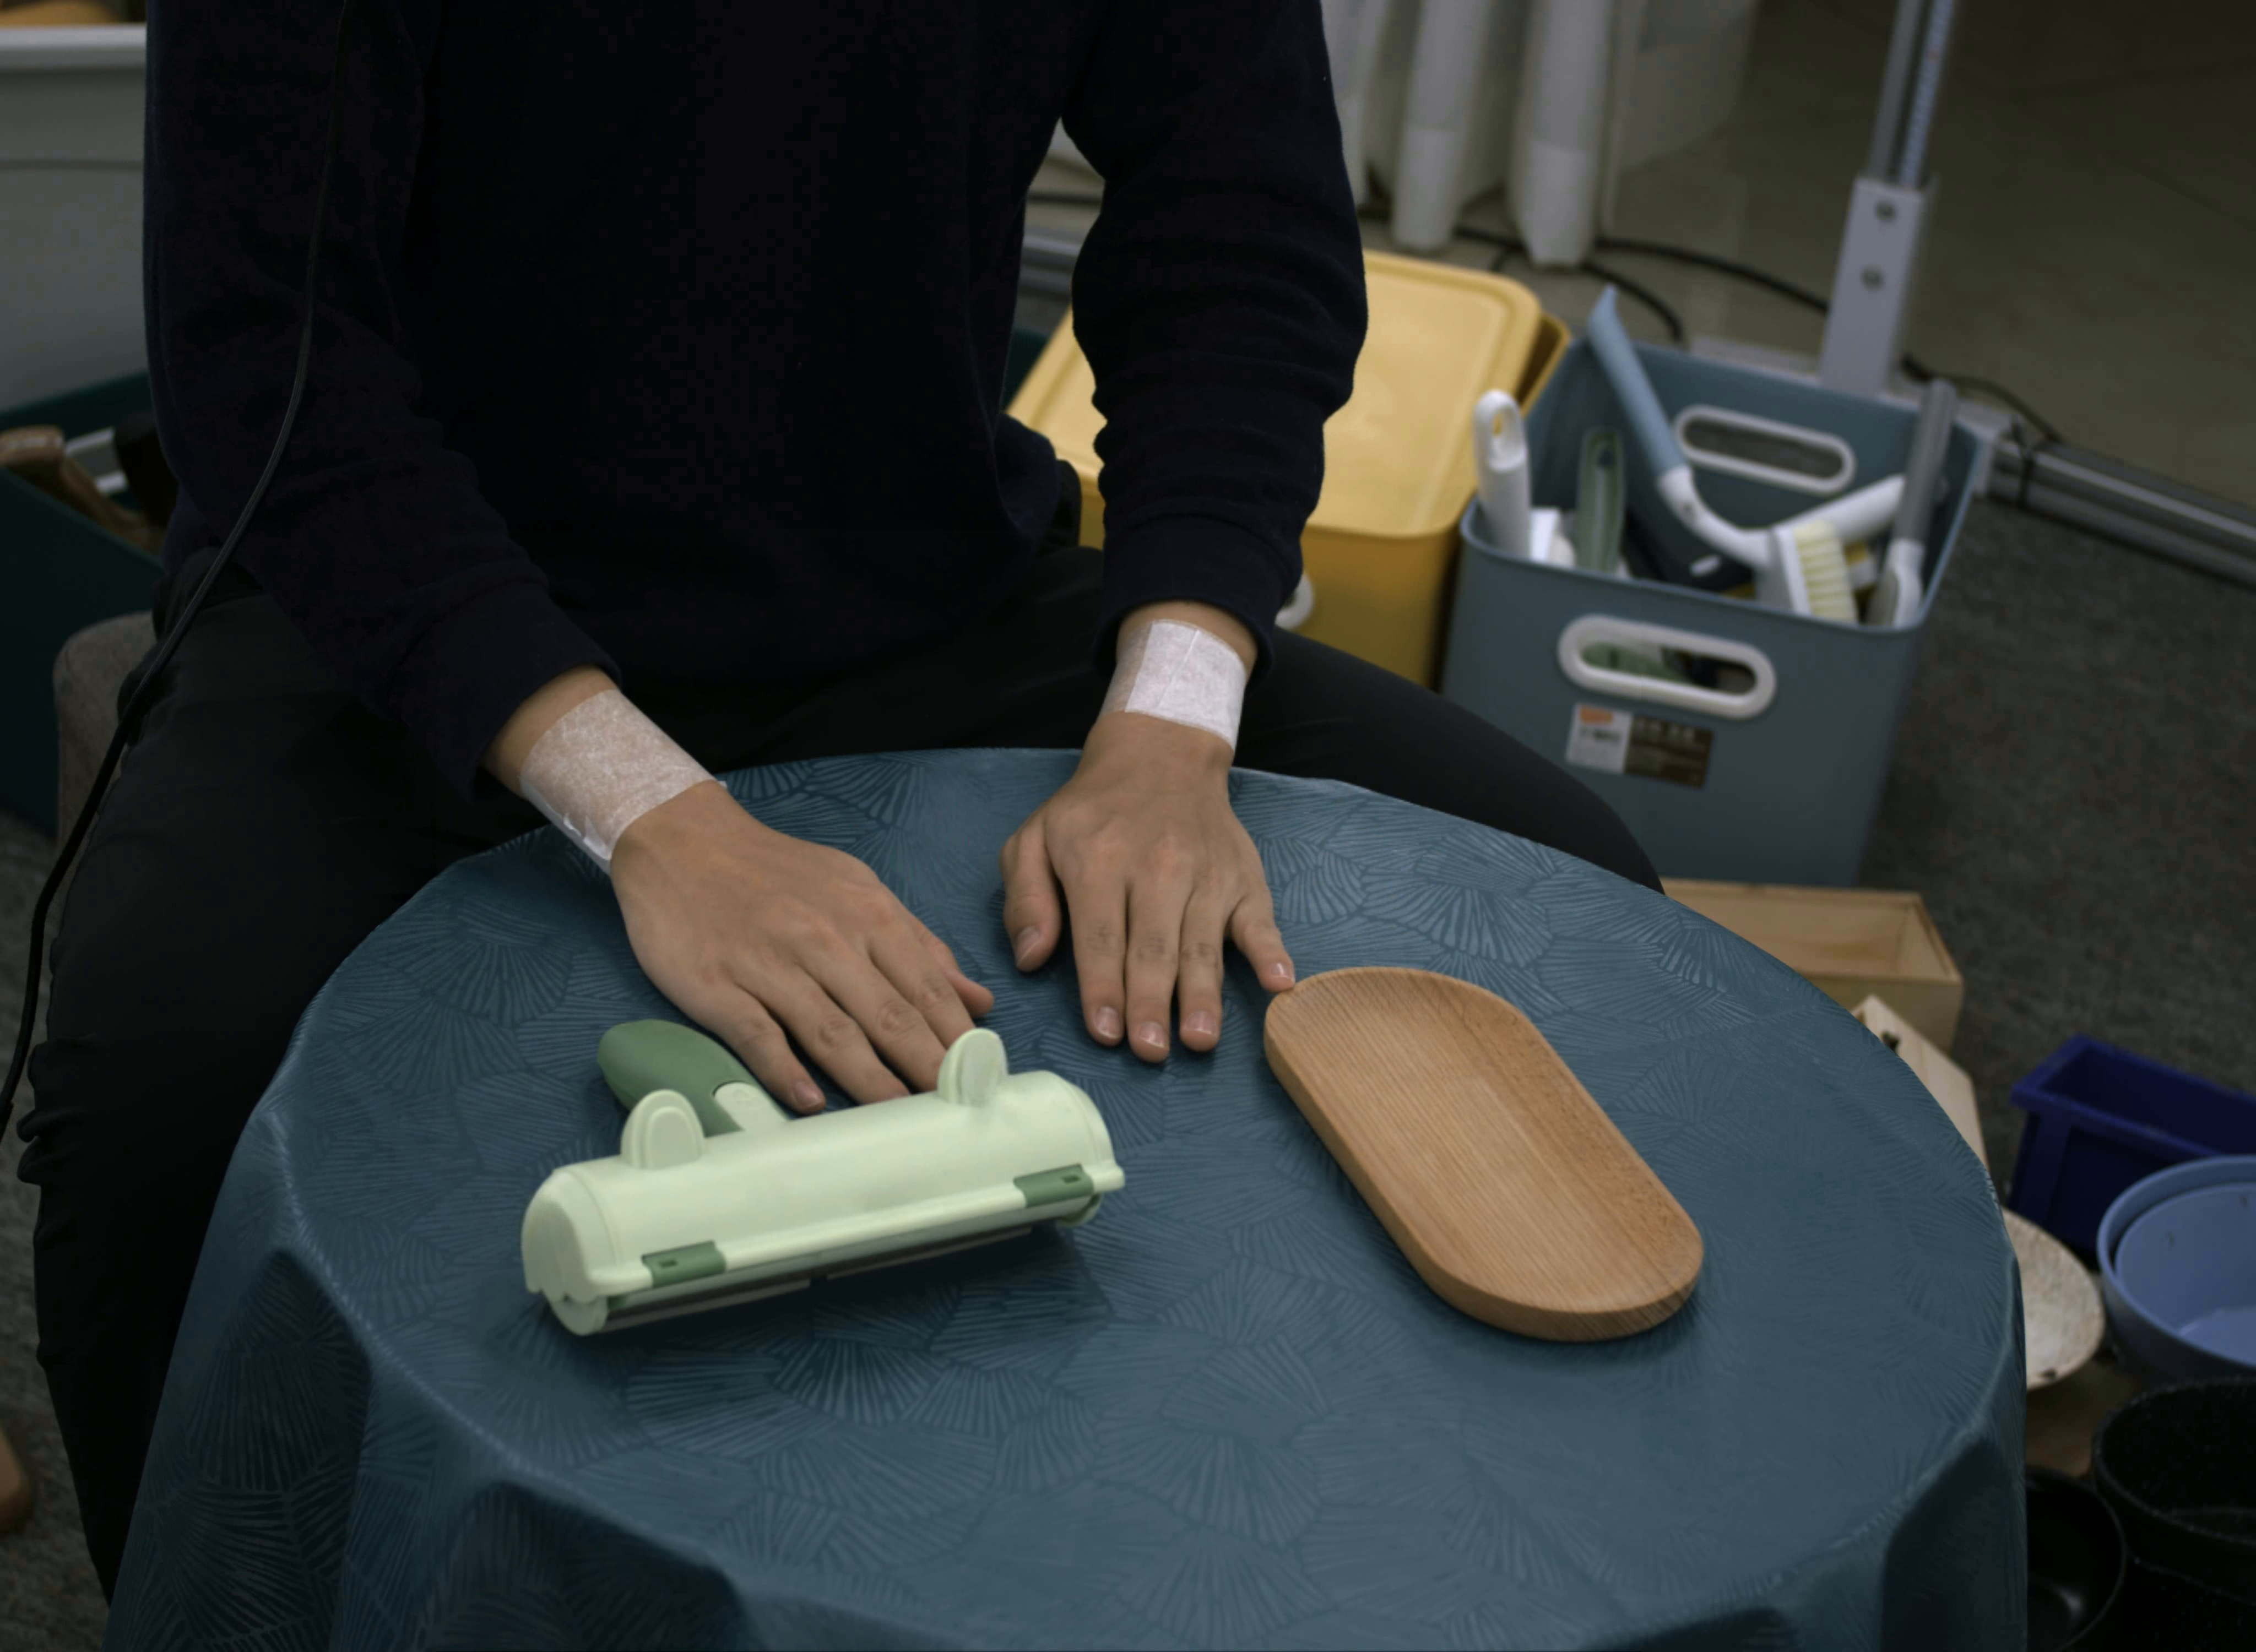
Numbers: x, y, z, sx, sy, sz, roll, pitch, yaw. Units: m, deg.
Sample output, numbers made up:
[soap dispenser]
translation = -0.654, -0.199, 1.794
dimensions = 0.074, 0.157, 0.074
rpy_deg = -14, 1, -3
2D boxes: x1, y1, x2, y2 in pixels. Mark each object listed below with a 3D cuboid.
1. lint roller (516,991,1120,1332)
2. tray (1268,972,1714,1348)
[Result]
[lint roller]
translation = -0.127, 0.084, 1.755
dimensions = 0.197, 0.082, 0.185
rpy_deg = -10, 37, -31
[tray]
translation = 0.122, 0.113, 1.833
dimensions = 0.101, 0.020, 0.233
rpy_deg = -6, 31, -20
